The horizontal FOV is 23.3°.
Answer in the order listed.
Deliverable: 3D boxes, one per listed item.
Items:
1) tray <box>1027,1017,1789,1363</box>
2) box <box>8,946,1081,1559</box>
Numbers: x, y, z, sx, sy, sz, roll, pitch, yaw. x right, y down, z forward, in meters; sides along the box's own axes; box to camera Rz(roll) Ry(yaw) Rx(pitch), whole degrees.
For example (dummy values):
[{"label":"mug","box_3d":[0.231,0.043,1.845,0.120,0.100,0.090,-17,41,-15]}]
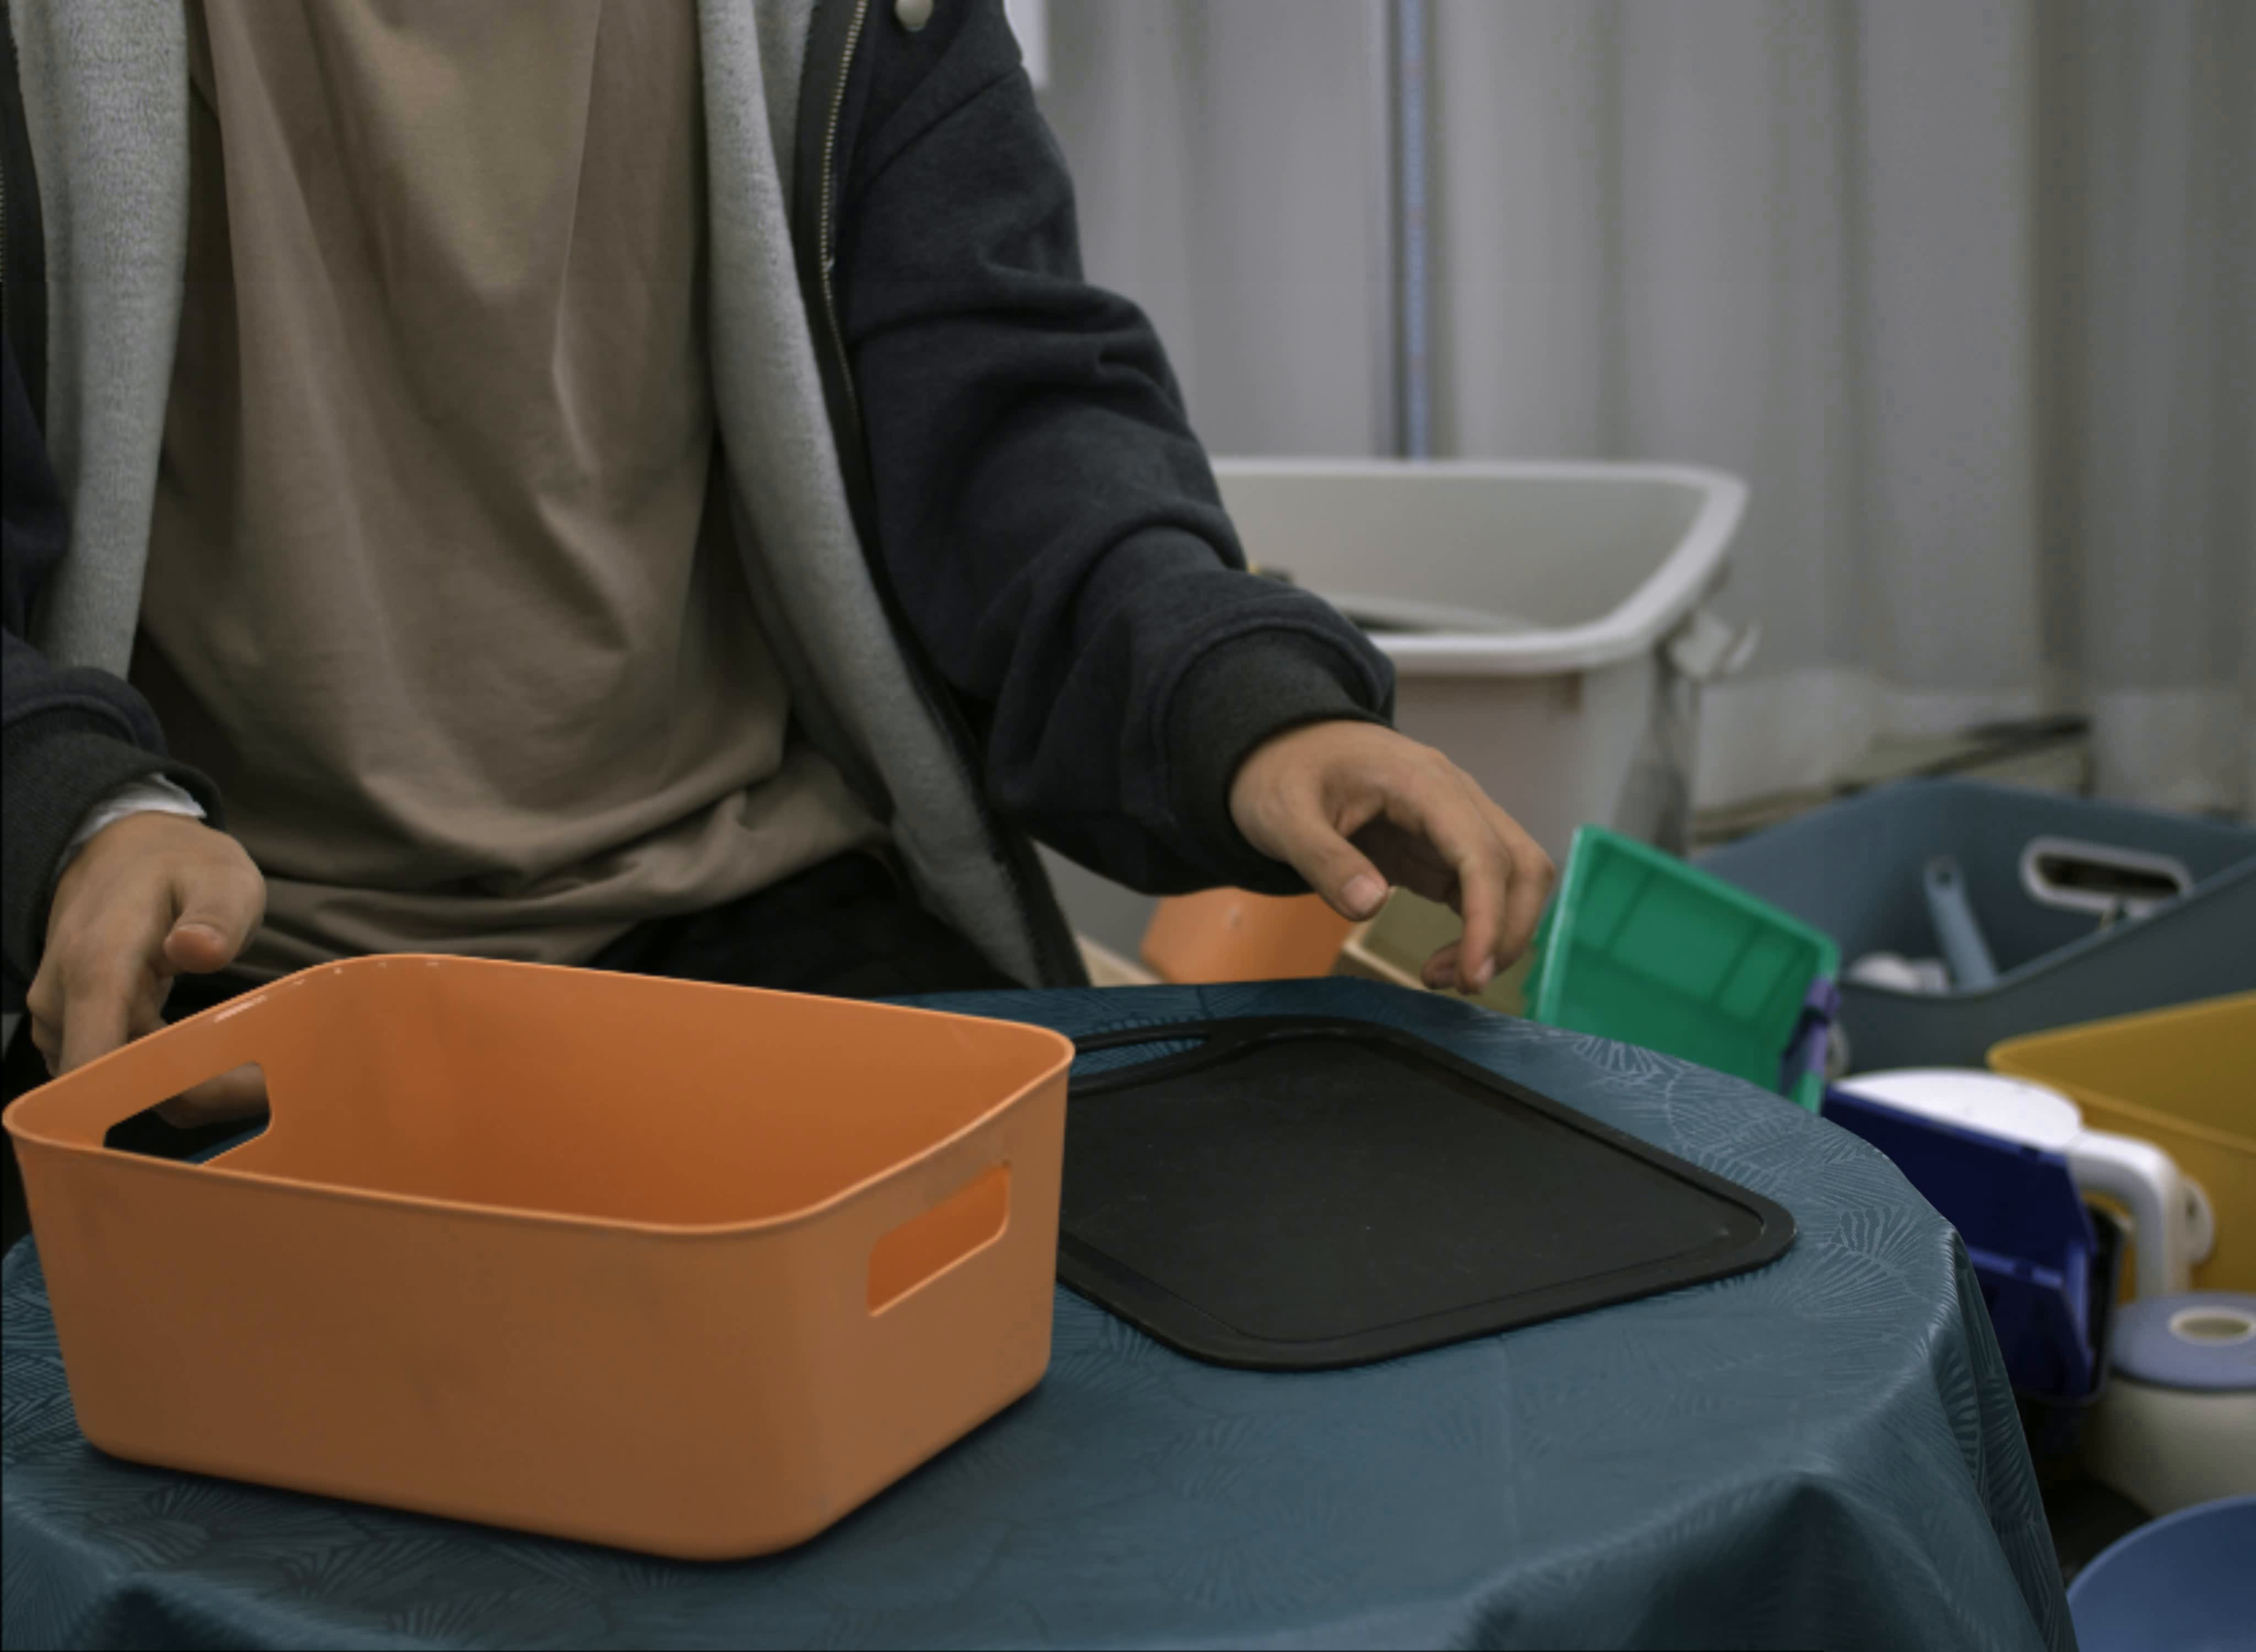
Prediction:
[{"label":"tray","box_3d":[0.046,0.107,1.721,0.210,0.010,0.328,-10,17,-26]},{"label":"box","box_3d":[-0.160,0.117,1.538,0.274,0.102,0.199,6,17,29]}]
